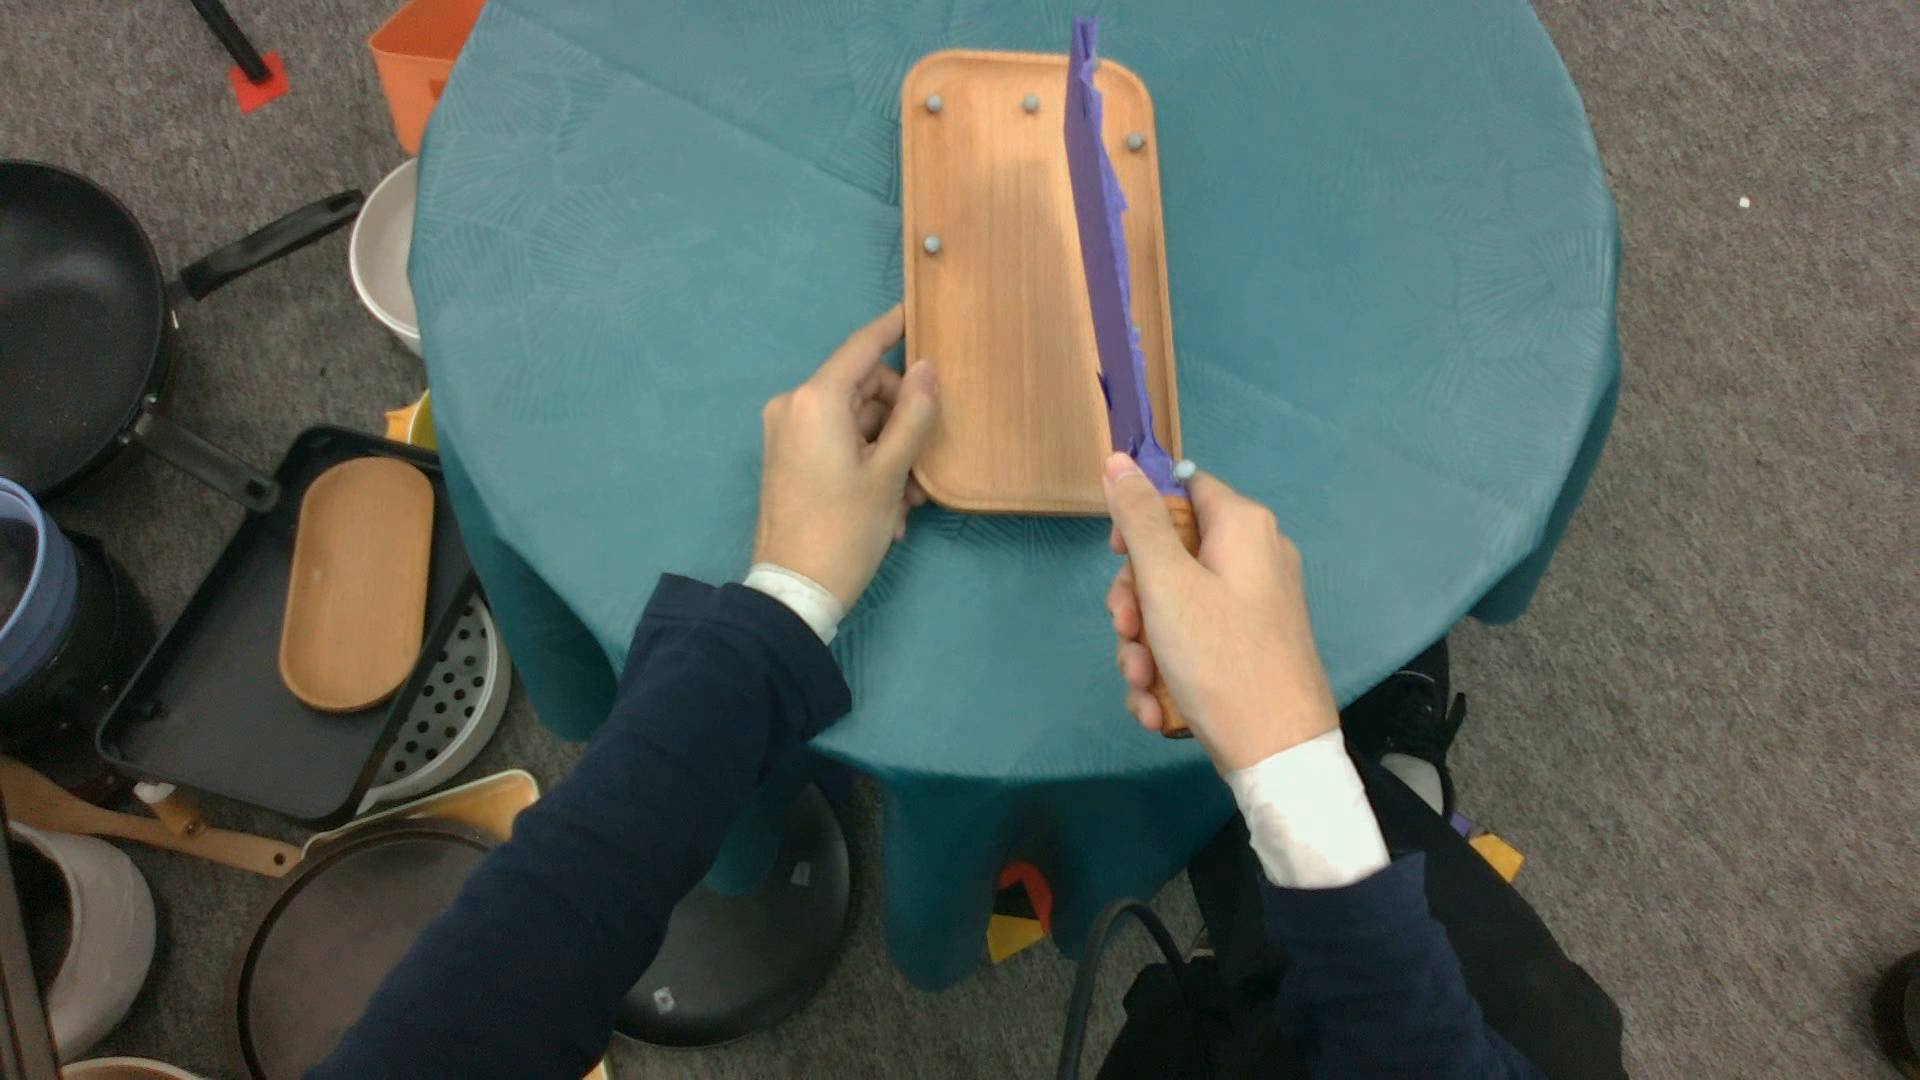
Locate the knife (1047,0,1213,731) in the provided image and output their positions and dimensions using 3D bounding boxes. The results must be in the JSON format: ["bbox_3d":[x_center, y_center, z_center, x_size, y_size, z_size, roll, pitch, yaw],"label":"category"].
[{"bbox_3d":[0.066,-0.072,0.581,0.032,0.103,0.316,-5,73,0],"label":"knife"}]

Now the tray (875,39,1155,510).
[{"bbox_3d":[0.026,-0.132,0.661,0.130,0.023,0.251,3,70,-5],"label":"tray"}]
